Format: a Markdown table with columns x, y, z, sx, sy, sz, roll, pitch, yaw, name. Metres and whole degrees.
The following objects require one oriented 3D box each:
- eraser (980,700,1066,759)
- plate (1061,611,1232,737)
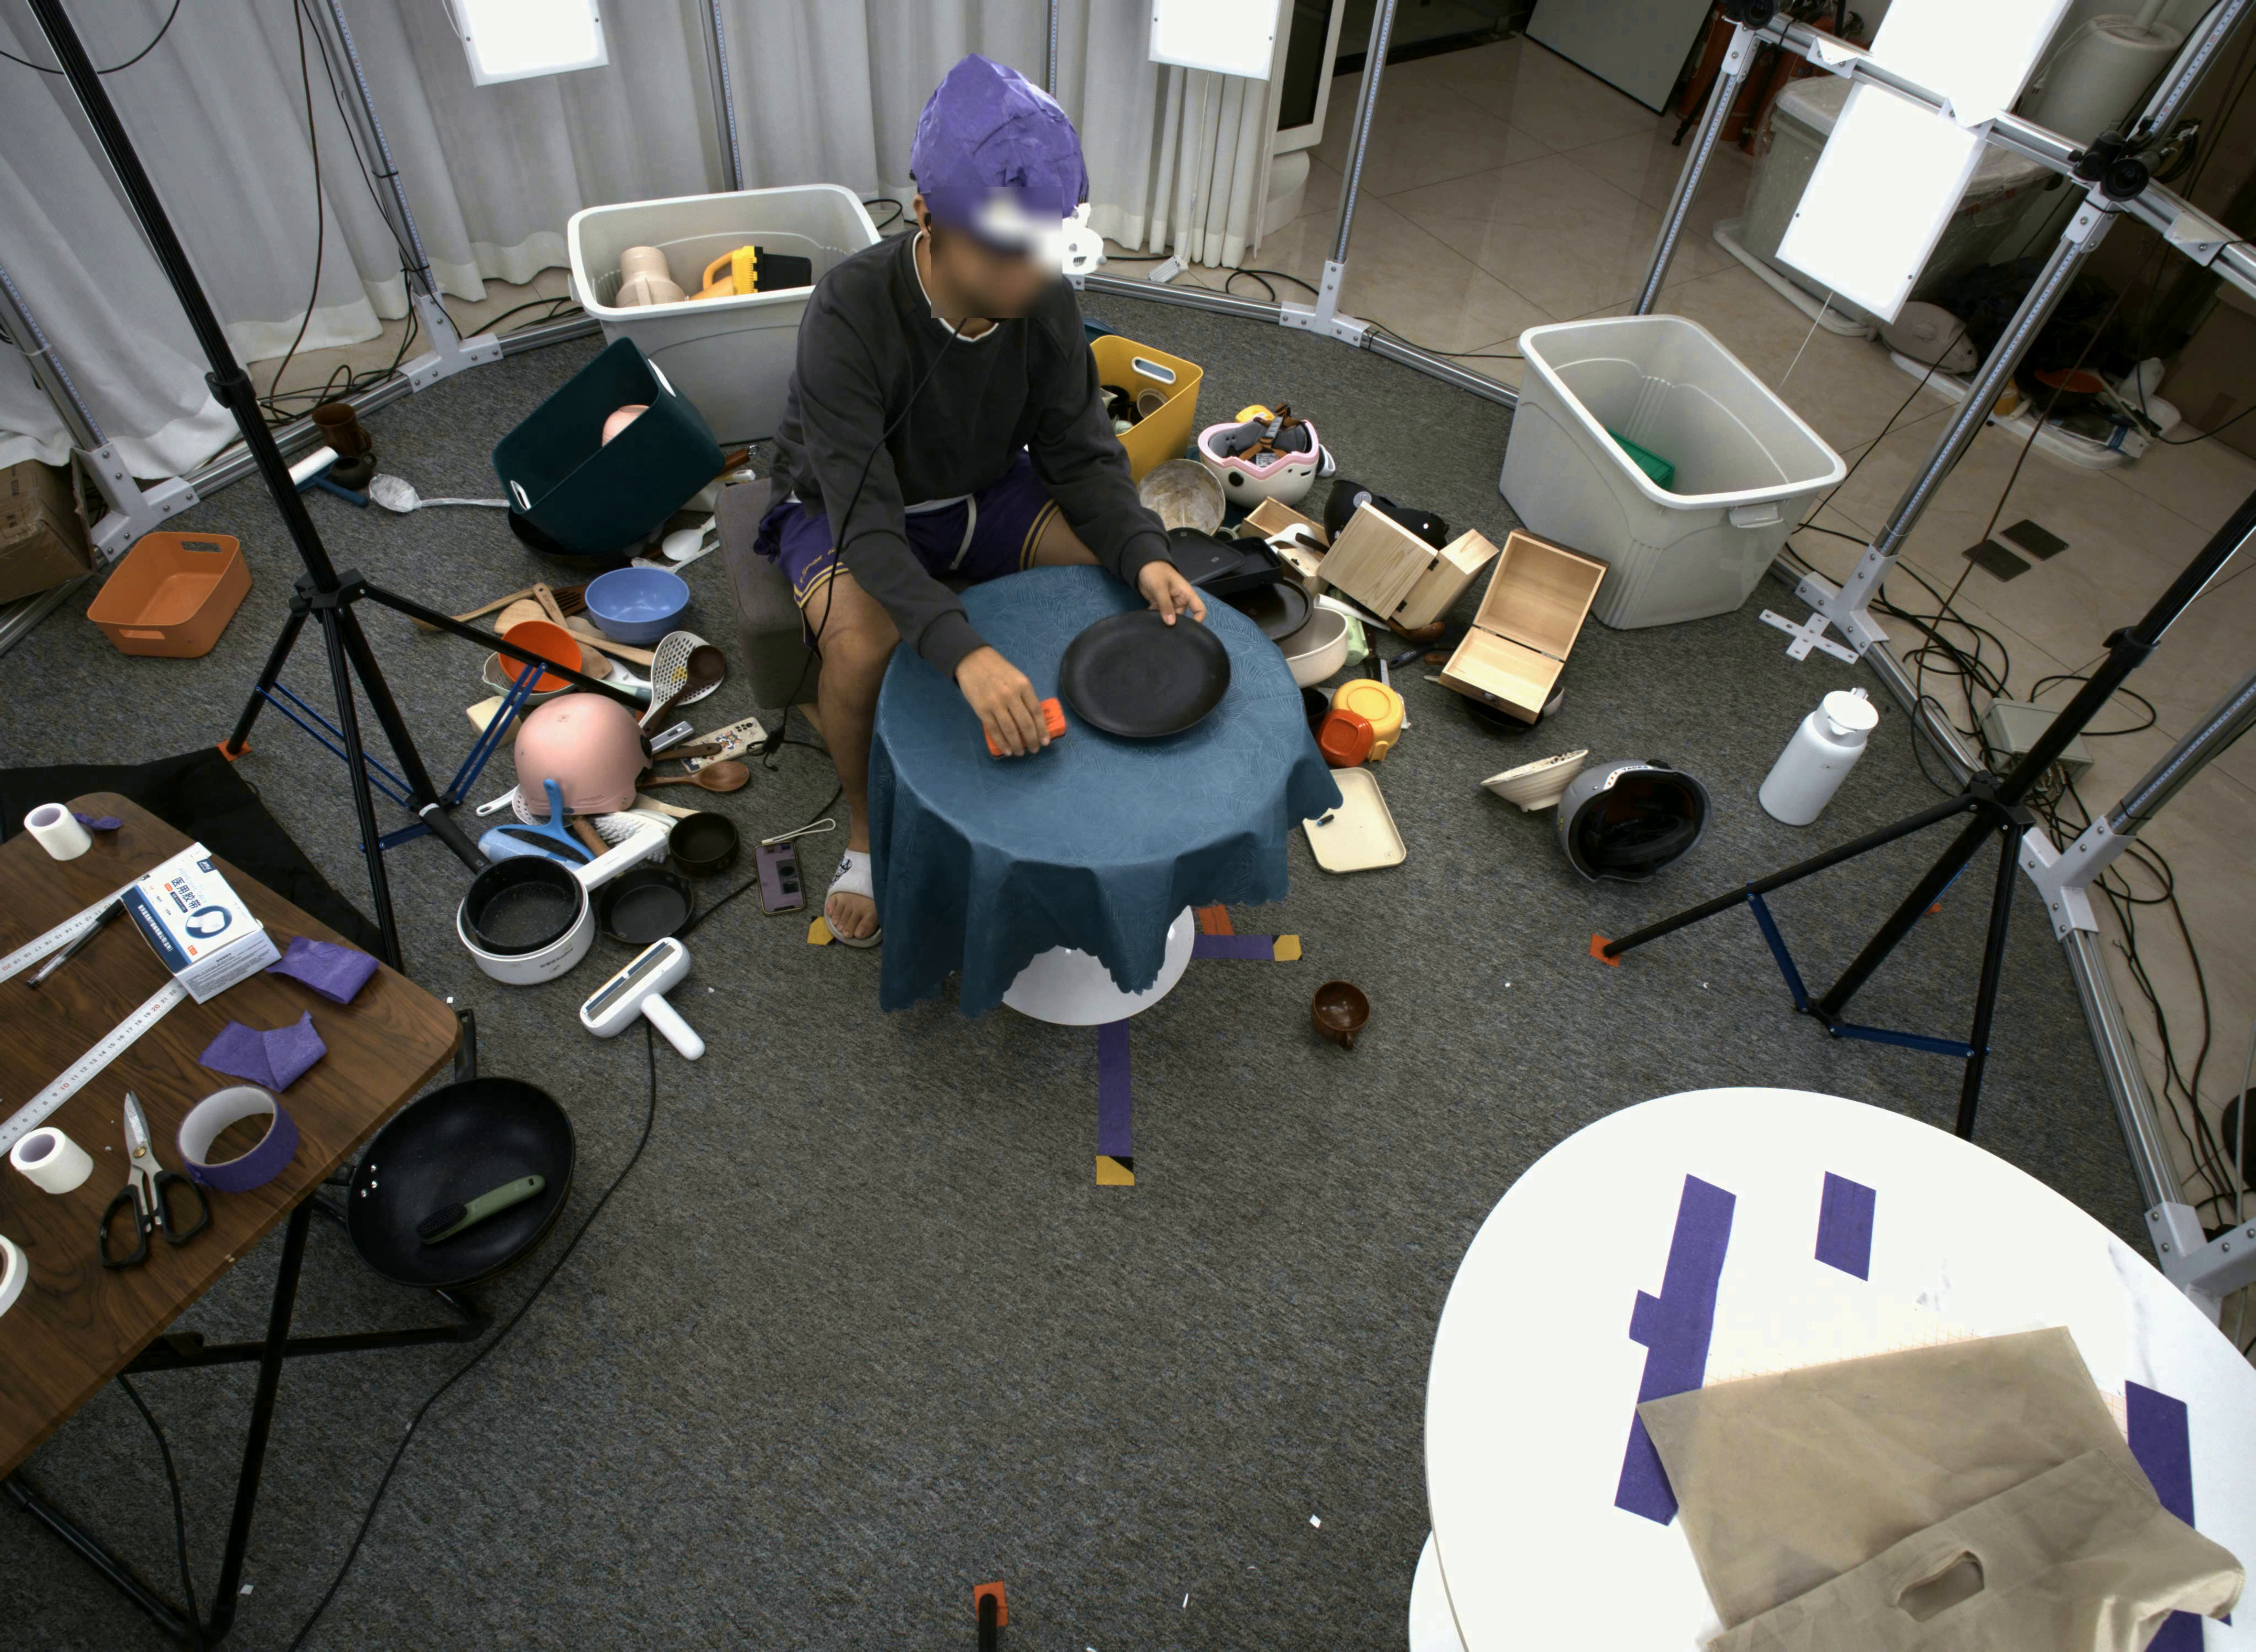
| x | y | z | sx | sy | sz | roll | pitch | yaw | name |
| --- | --- | --- | --- | --- | --- | --- | --- | --- | --- |
| -0.142 | -0.130 | 1.728 | 0.108 | 0.022 | 0.060 | -17 | 52 | -7 | eraser |
| 0.026 | -0.214 | 1.828 | 0.244 | 0.023 | 0.250 | -2 | 52 | 2 | plate |
